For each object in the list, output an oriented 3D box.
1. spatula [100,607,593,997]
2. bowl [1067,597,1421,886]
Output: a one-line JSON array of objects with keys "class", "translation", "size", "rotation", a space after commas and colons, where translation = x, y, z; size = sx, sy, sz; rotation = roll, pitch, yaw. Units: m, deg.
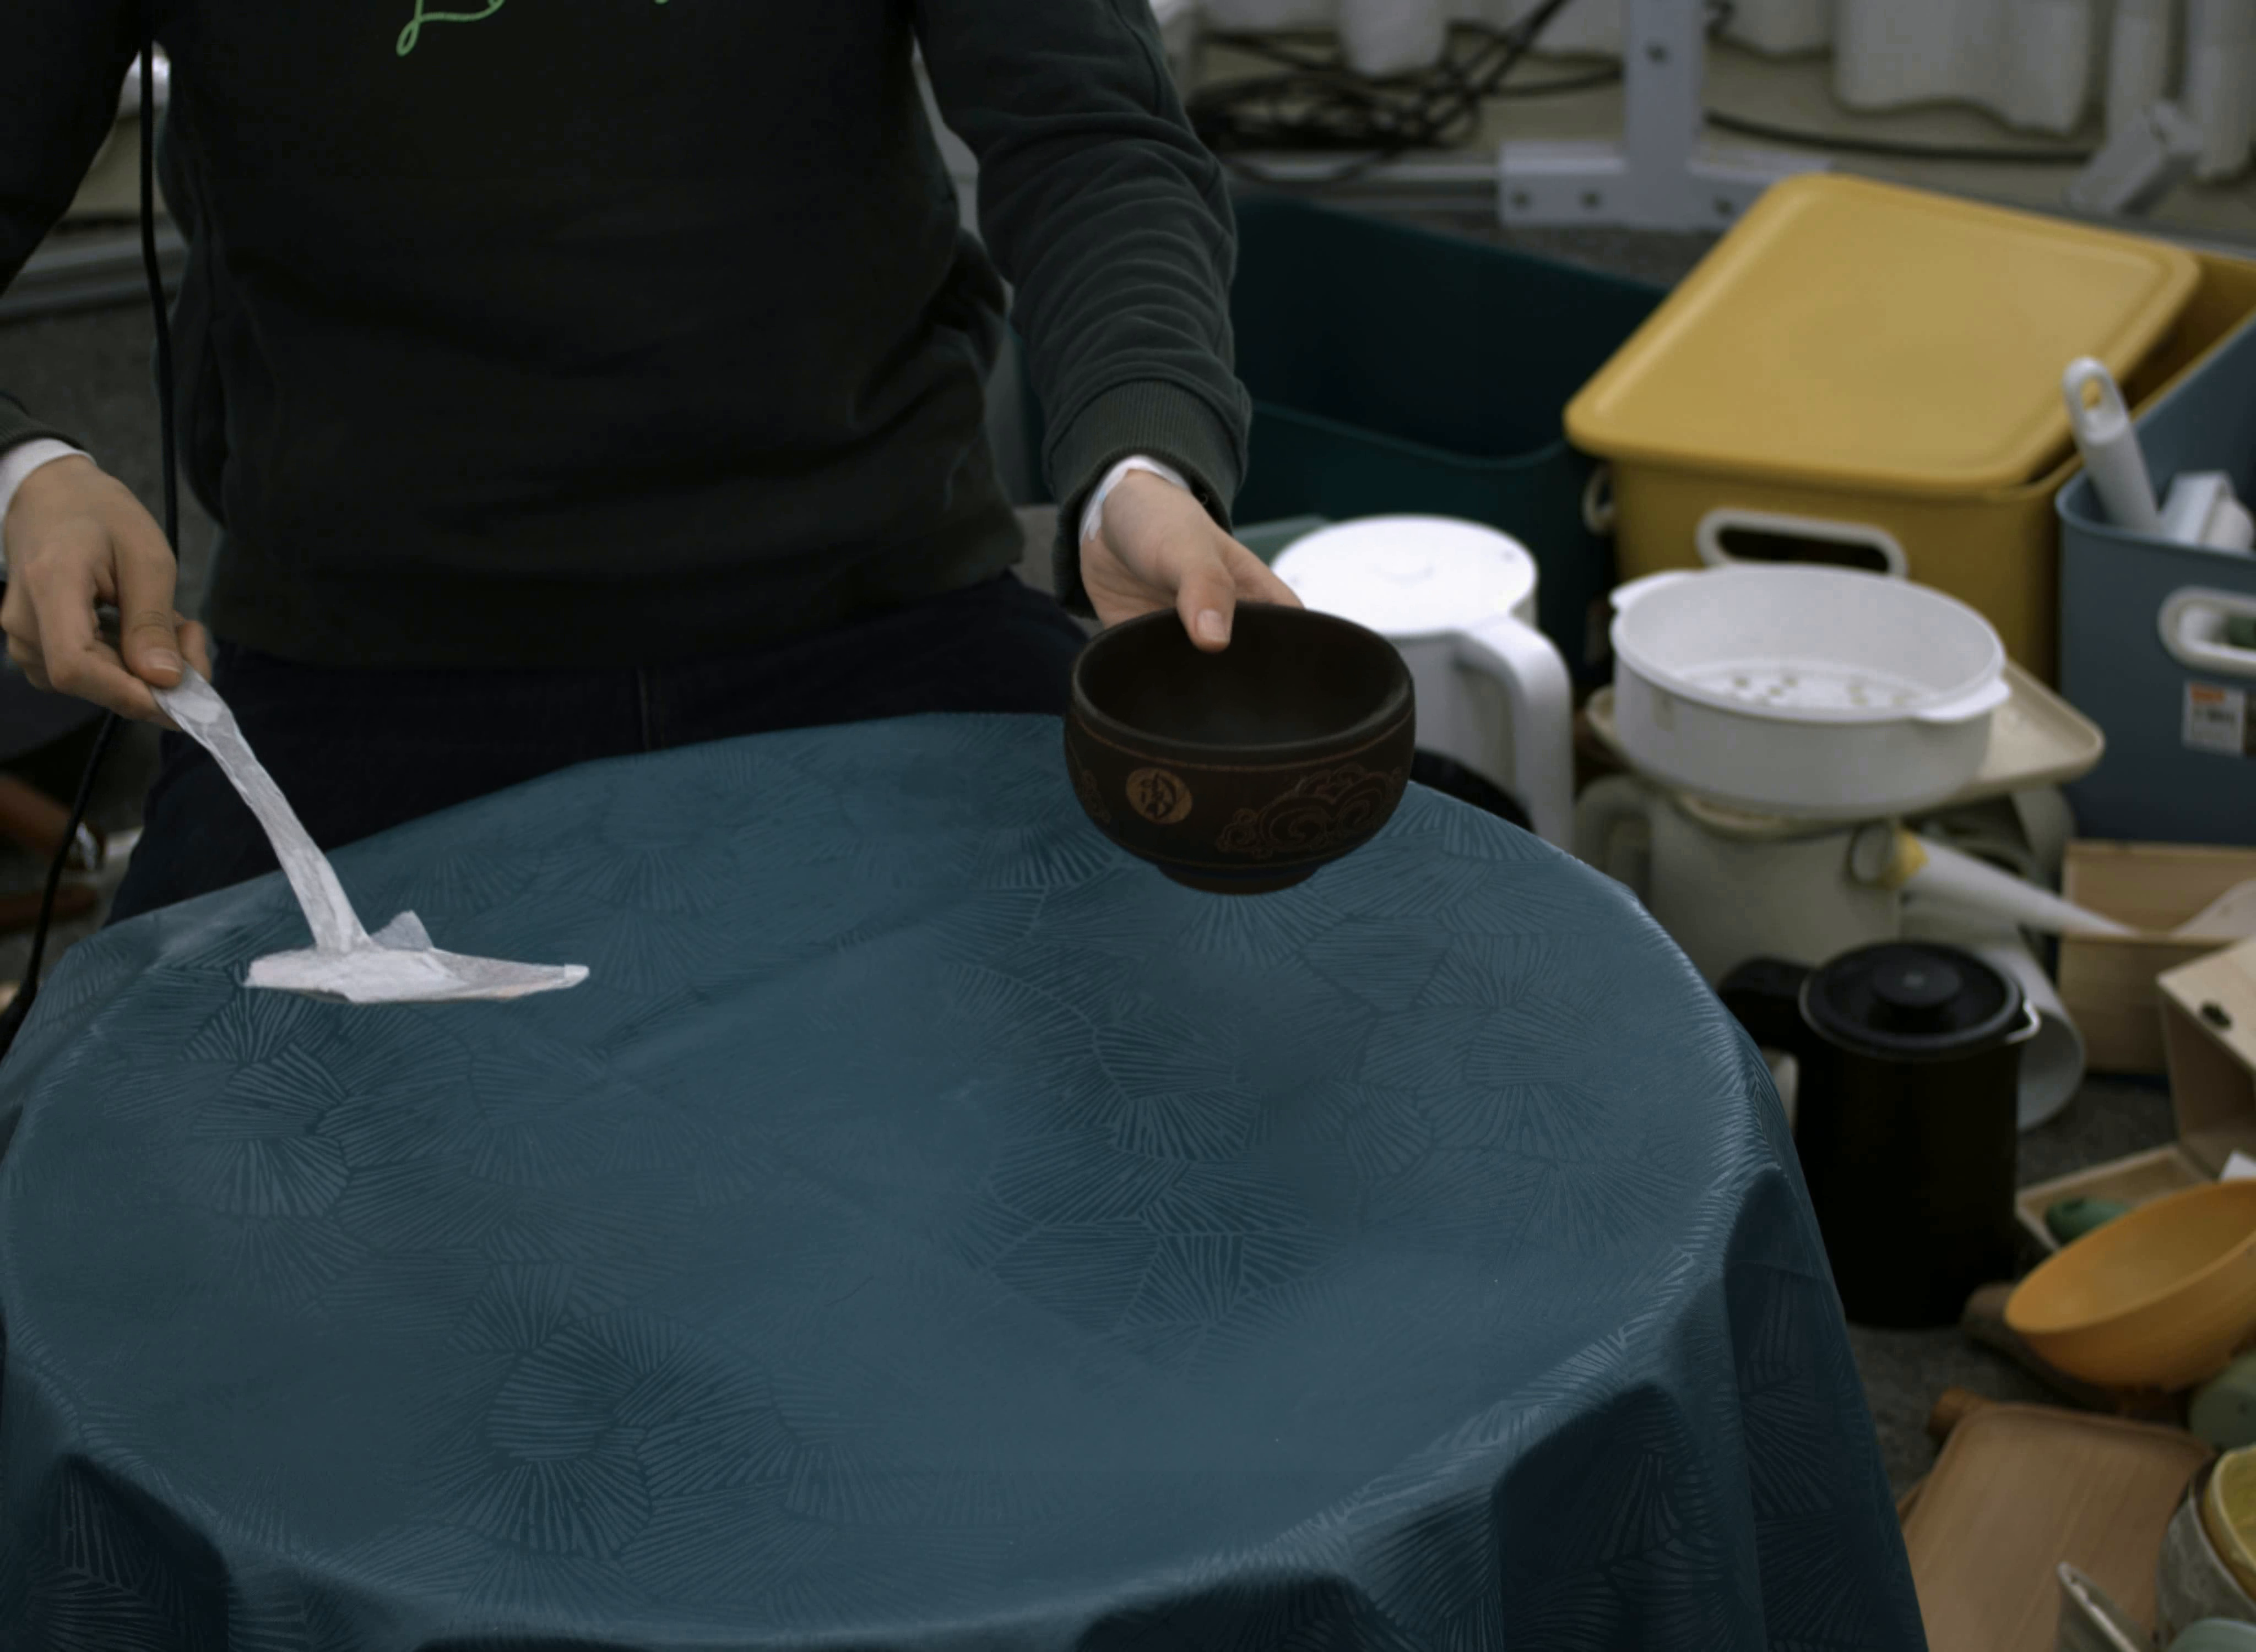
[{"class": "spatula", "translation": [-0.283, -0.014, 1.861], "size": [0.099, 0.044, 0.367], "rotation": [-3, 28, -28]}, {"class": "bowl", "translation": [0.038, -0.023, 1.870], "size": [0.117, 0.069, 0.119], "rotation": [1, 24, 0]}]
